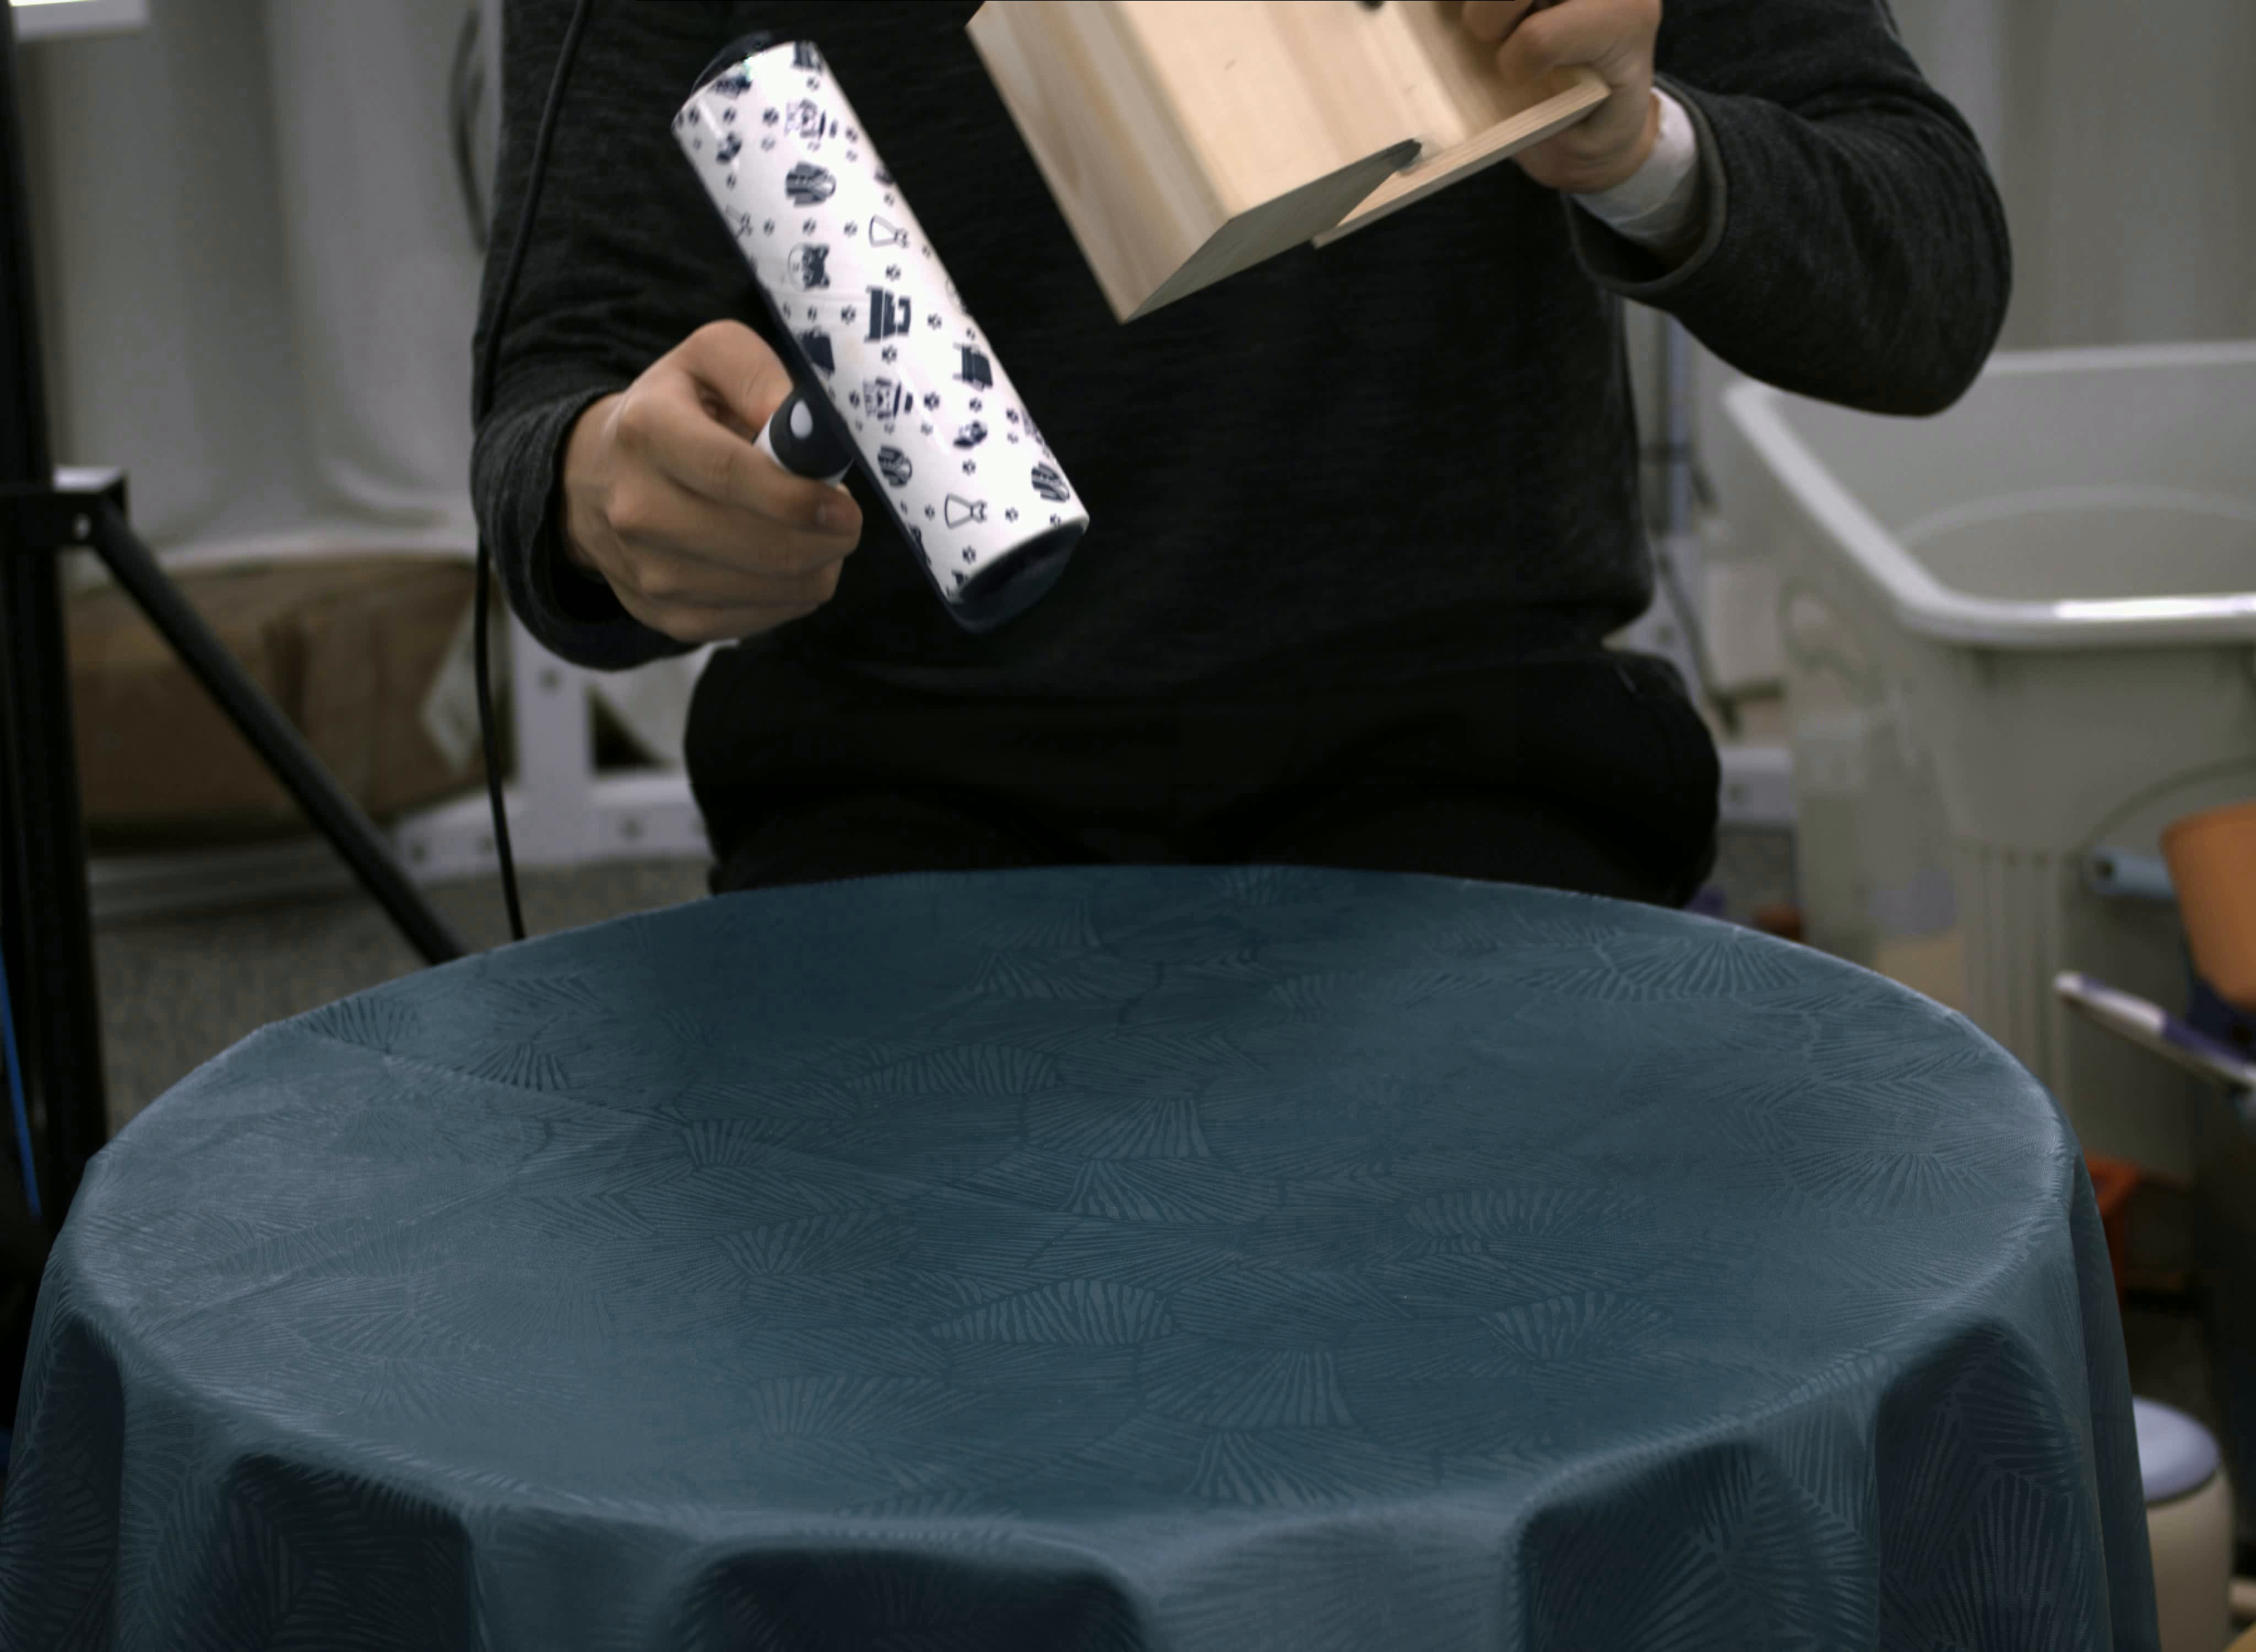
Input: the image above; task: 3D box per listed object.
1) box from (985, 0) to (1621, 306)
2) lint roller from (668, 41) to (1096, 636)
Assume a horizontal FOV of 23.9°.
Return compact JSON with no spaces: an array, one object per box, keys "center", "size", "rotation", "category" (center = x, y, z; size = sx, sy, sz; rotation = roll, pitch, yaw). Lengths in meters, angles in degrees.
[{"center":[0.068,-0.241,1.562],"size":[0.181,0.103,0.135],"rotation":[-25,-5,-22],"category":"box"},{"center":[-0.097,-0.108,1.601],"size":[0.049,0.178,0.248],"rotation":[-28,-10,-24],"category":"lint roller"}]
